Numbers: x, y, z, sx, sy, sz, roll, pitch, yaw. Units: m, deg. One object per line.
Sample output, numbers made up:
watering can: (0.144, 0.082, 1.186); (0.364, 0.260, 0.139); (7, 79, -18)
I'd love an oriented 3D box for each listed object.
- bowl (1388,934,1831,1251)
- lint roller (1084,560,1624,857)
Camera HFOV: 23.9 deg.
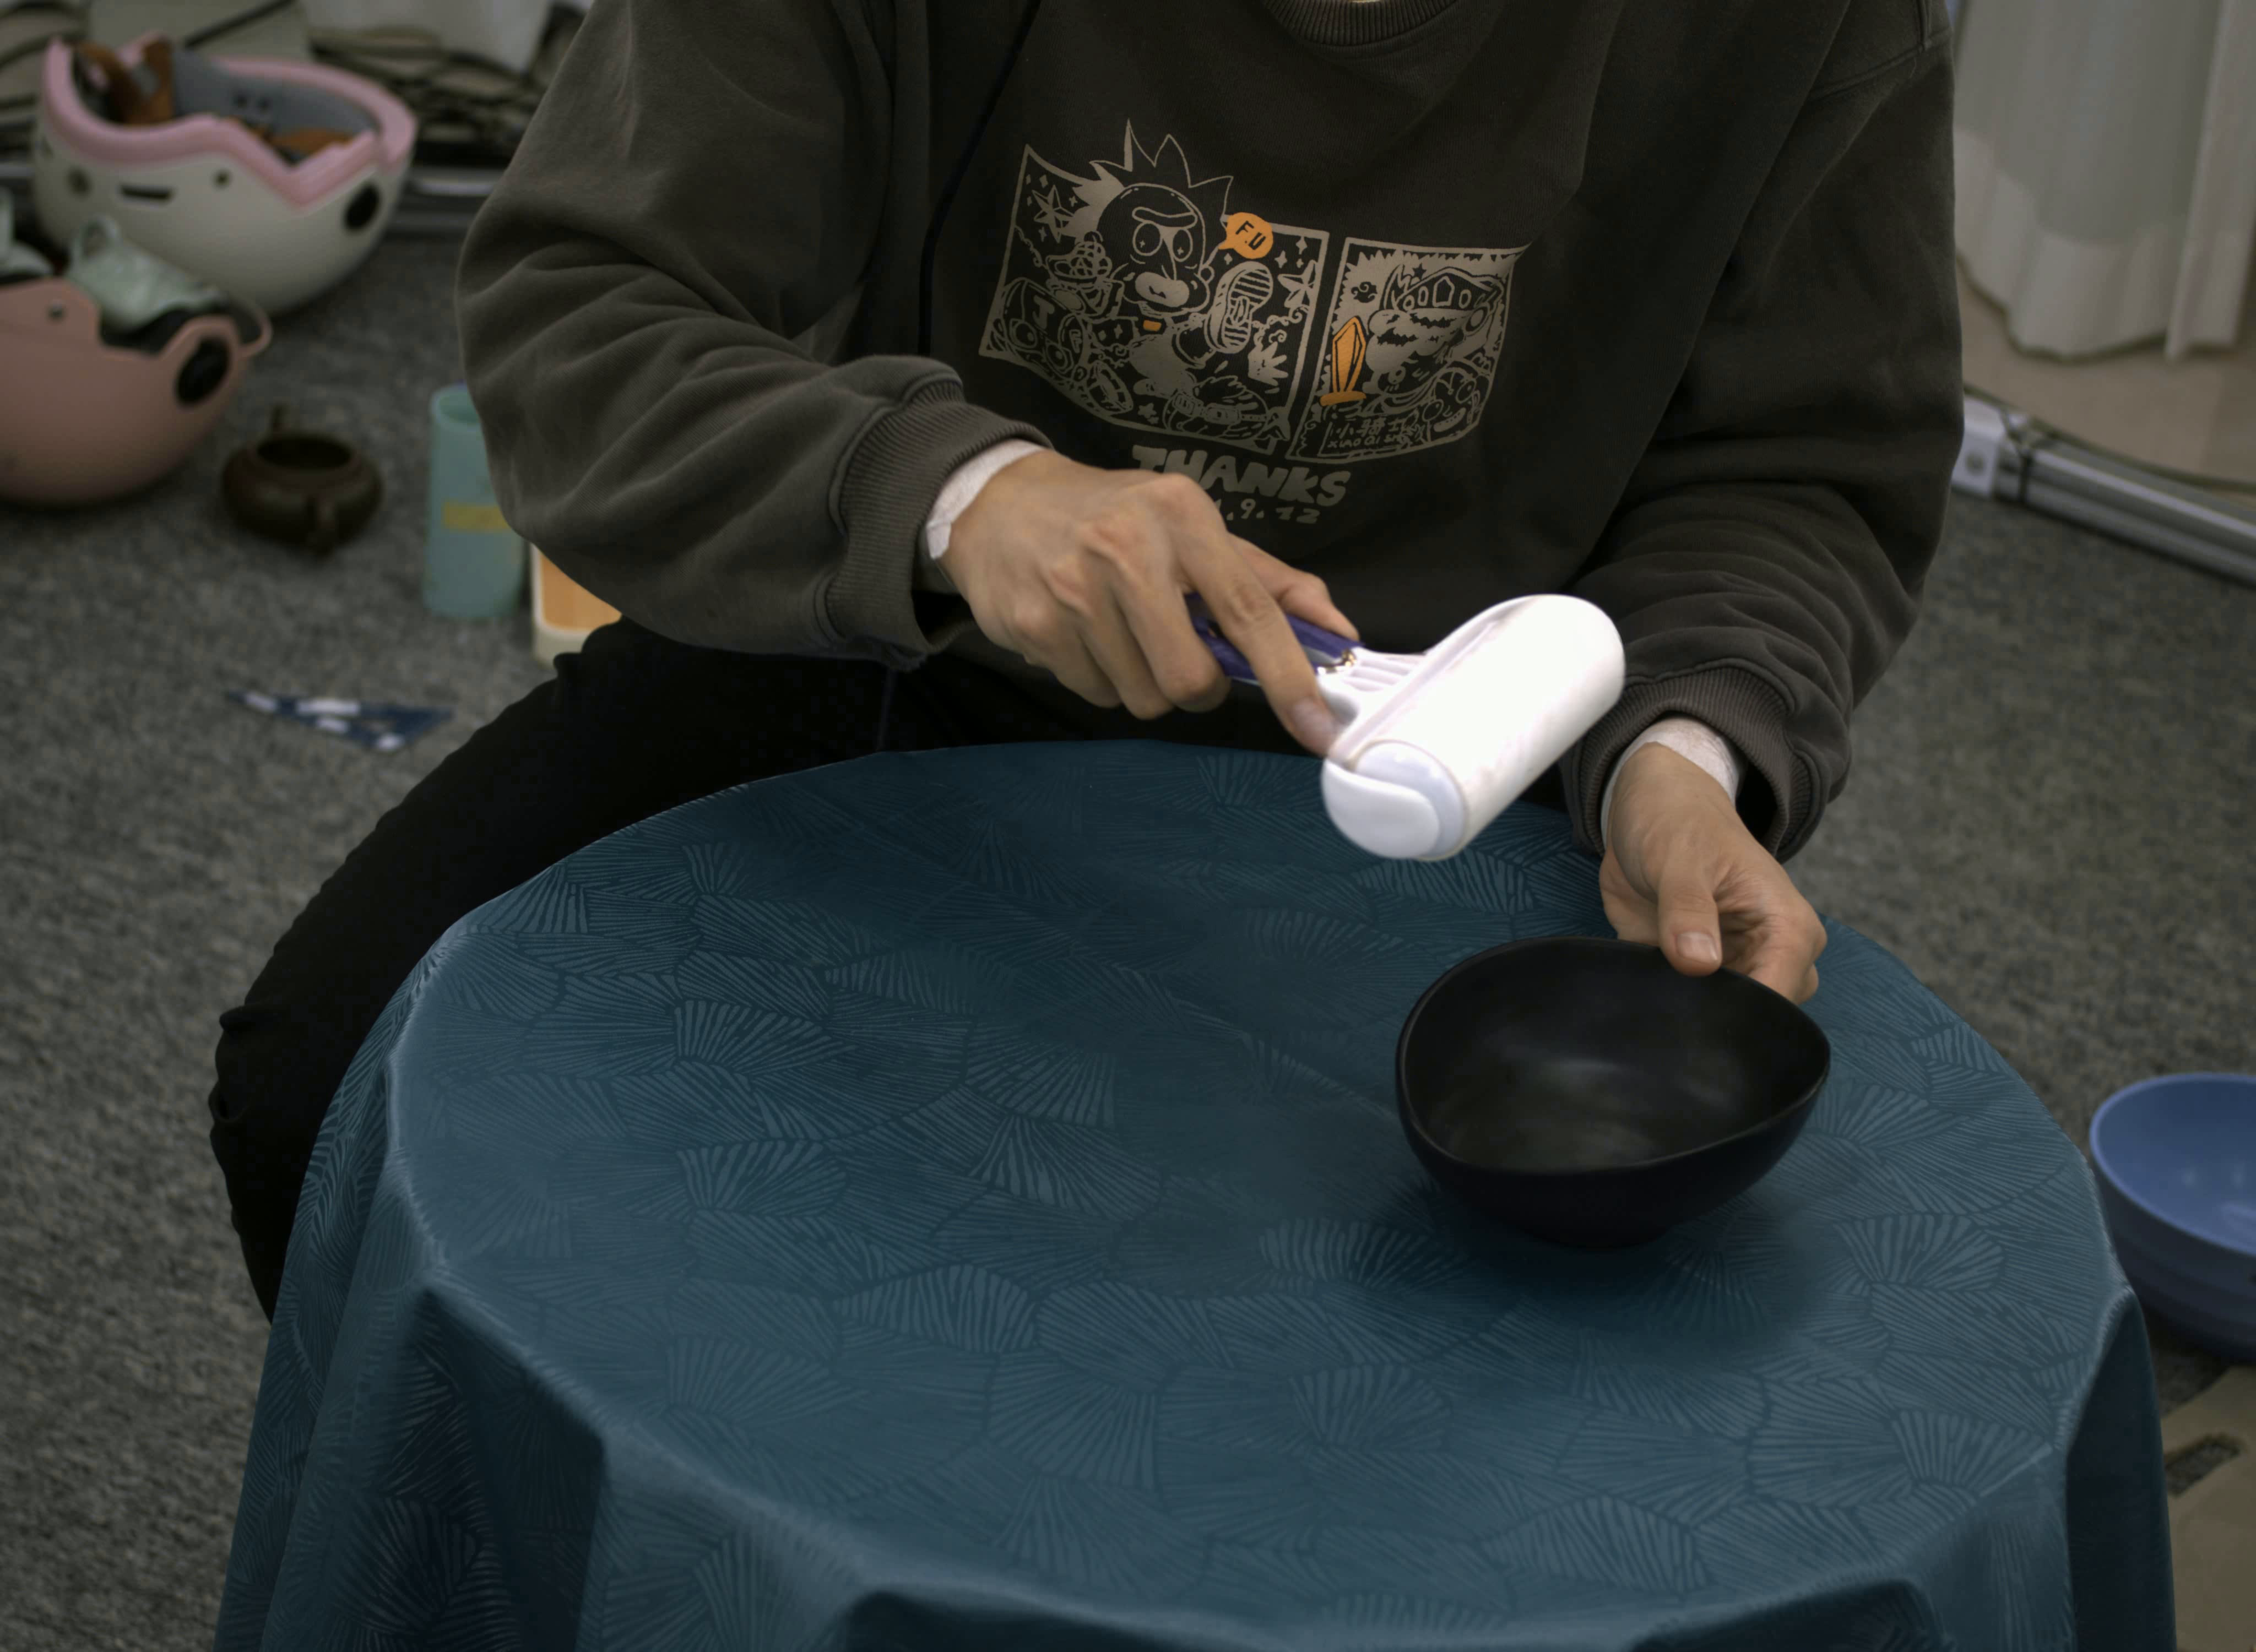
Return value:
bowl: (0.162, 0.101, 1.815); (0.138, 0.066, 0.169); (24, 33, 34)
lint roller: (0.065, -0.062, 1.756); (0.182, 0.050, 0.133); (29, 44, 23)
